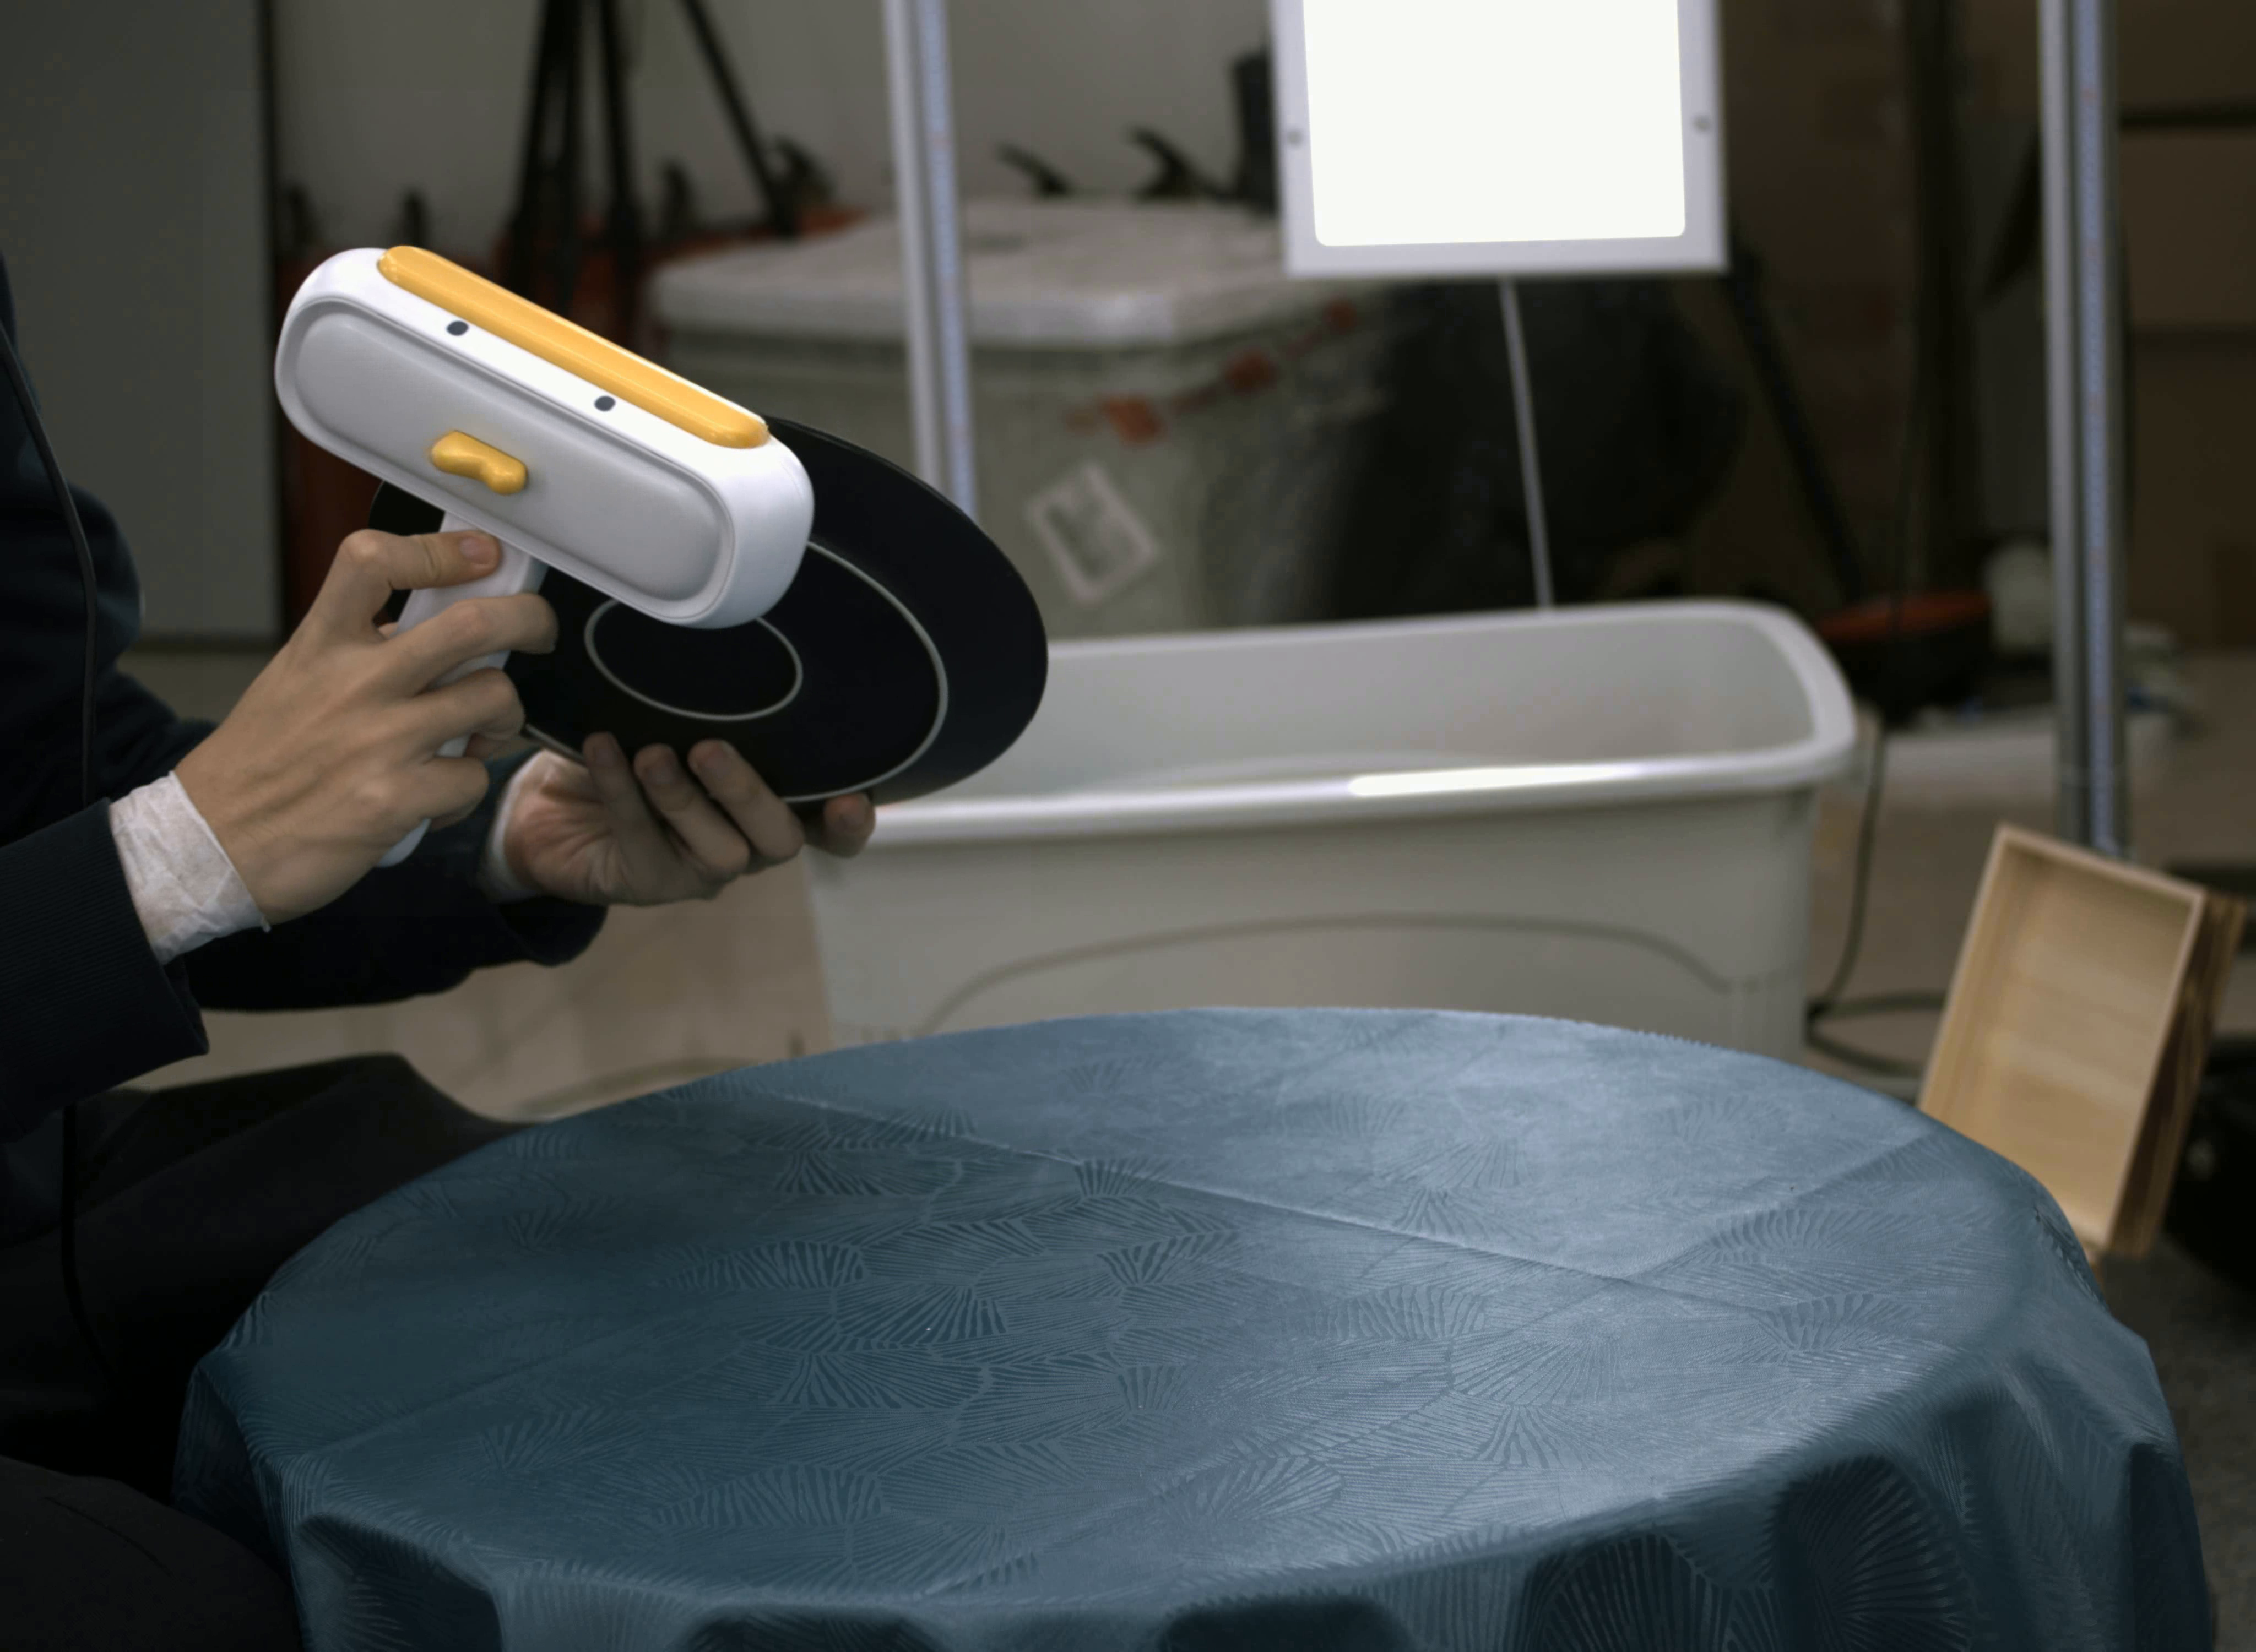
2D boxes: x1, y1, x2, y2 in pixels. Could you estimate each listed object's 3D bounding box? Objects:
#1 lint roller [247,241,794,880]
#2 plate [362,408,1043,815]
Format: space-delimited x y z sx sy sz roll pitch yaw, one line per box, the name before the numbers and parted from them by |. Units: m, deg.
lint roller | -0.217 -0.076 1.819 0.194 0.194 0.073 22 21 13
plate | -0.150 -0.067 1.920 0.247 0.243 0.023 0 55 19
